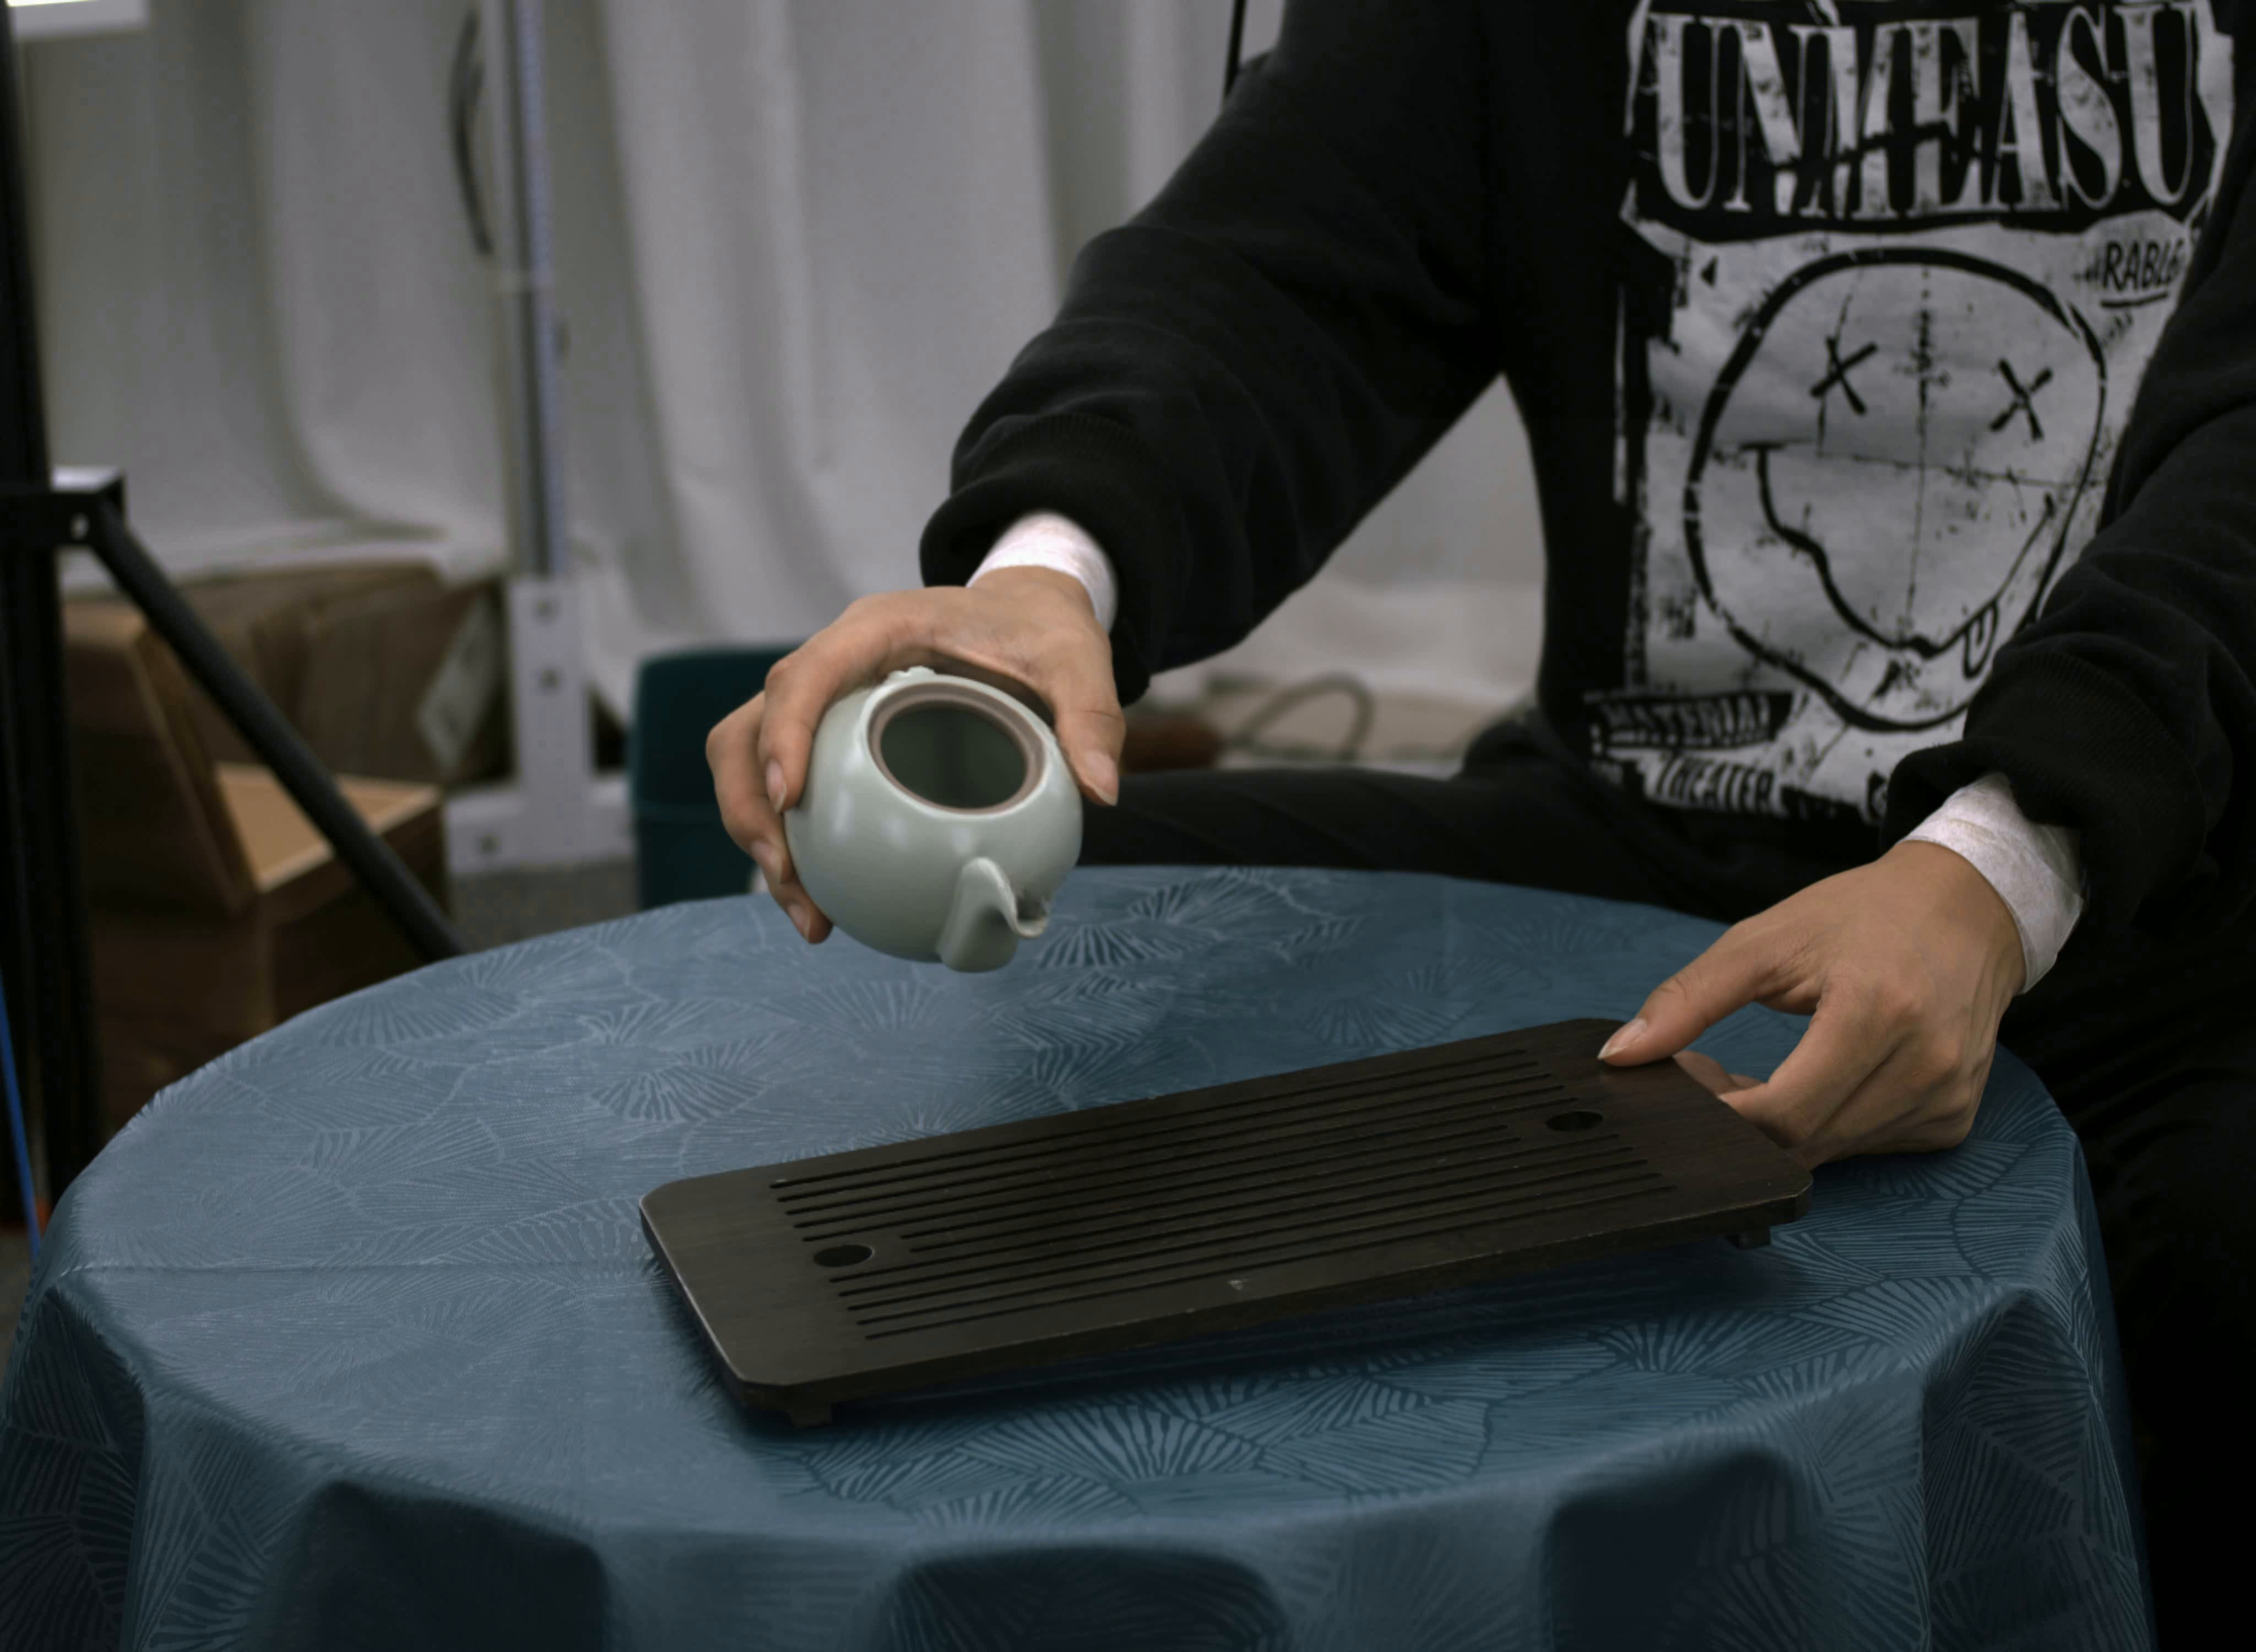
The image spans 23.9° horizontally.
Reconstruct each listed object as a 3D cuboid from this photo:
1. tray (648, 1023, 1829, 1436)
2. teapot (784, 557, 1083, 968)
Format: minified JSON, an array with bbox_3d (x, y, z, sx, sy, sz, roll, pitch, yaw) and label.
[{"bbox_3d":[0.028,0.111,1.480,0.302,0.018,0.172,-9,17,-11],"label":"tray"},{"bbox_3d":[-0.056,-0.005,1.557,0.086,0.075,0.146,-3,50,-21],"label":"teapot"}]
